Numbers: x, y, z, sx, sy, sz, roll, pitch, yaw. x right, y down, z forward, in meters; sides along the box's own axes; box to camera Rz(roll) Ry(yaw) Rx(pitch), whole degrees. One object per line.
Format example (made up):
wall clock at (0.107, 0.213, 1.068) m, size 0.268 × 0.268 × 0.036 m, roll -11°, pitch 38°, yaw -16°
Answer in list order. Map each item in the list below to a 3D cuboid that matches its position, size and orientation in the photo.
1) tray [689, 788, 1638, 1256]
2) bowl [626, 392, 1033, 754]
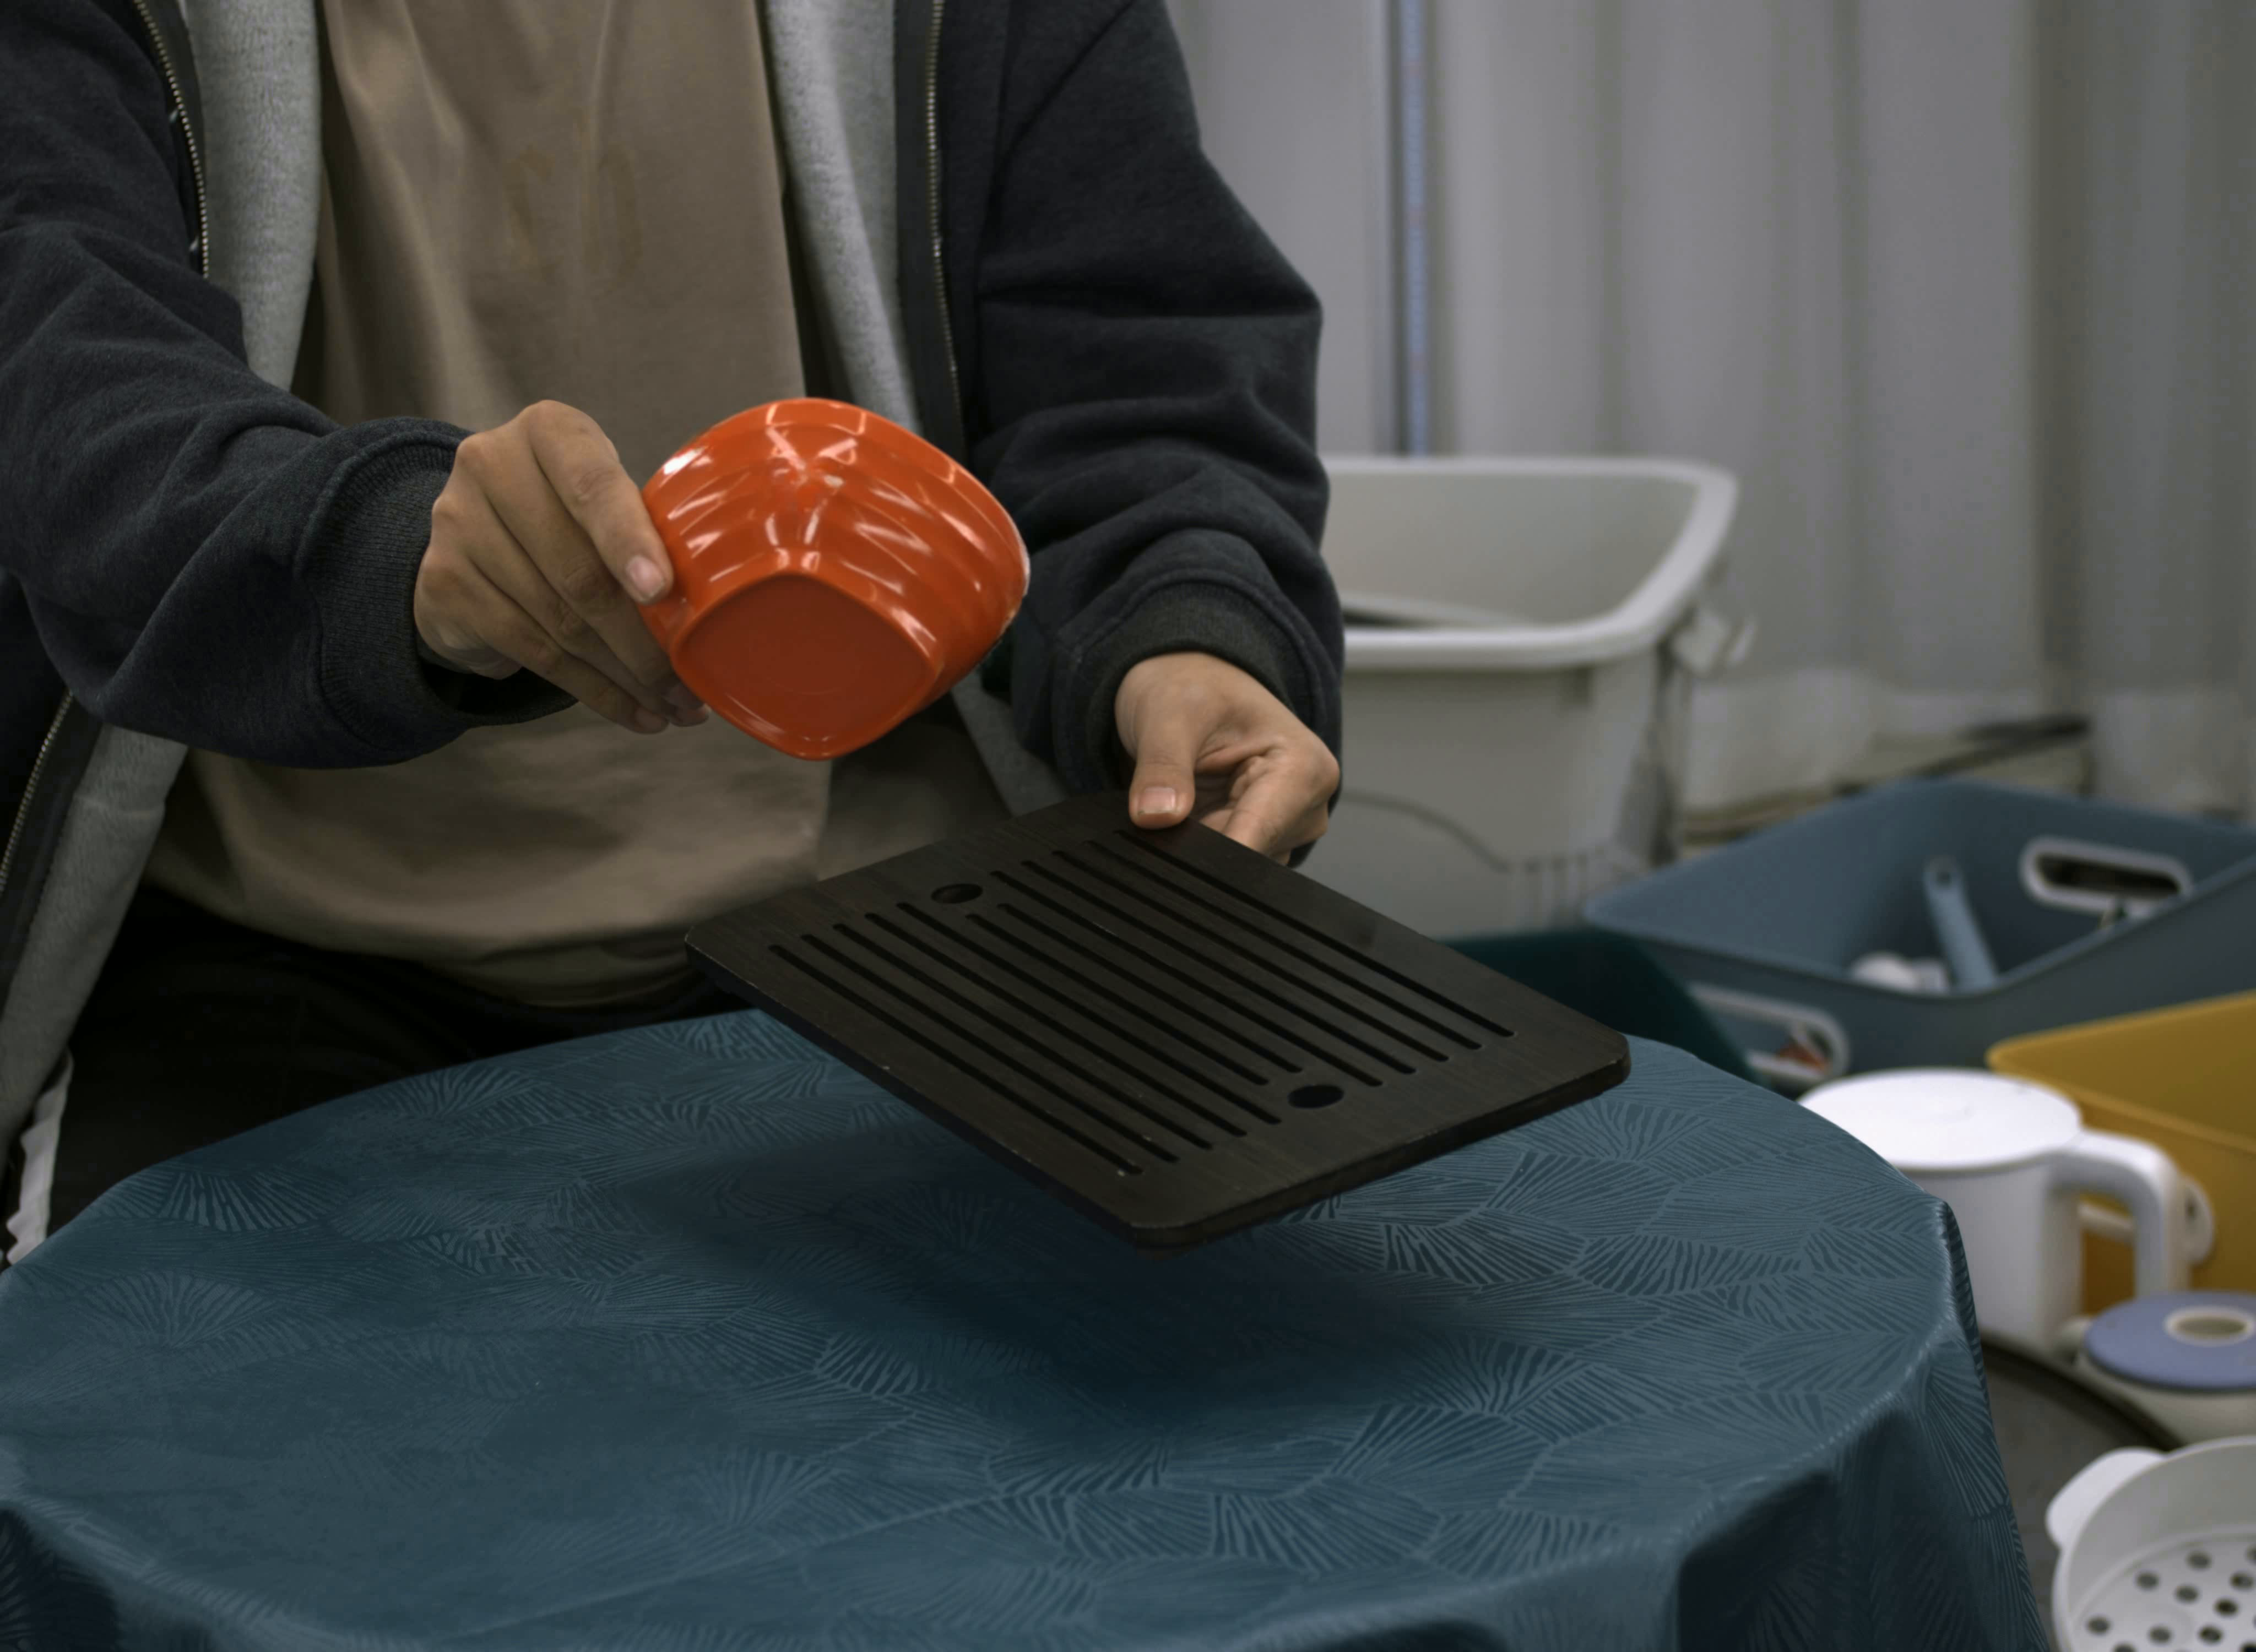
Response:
tray at (0.004, 0.055, 1.664) m, size 0.170 × 0.018 × 0.308 m, roll -19°, pitch 23°, yaw -25°
bowl at (-0.089, -0.064, 1.574) m, size 0.119 × 0.117 × 0.052 m, roll 0°, pitch 47°, yaw 9°
